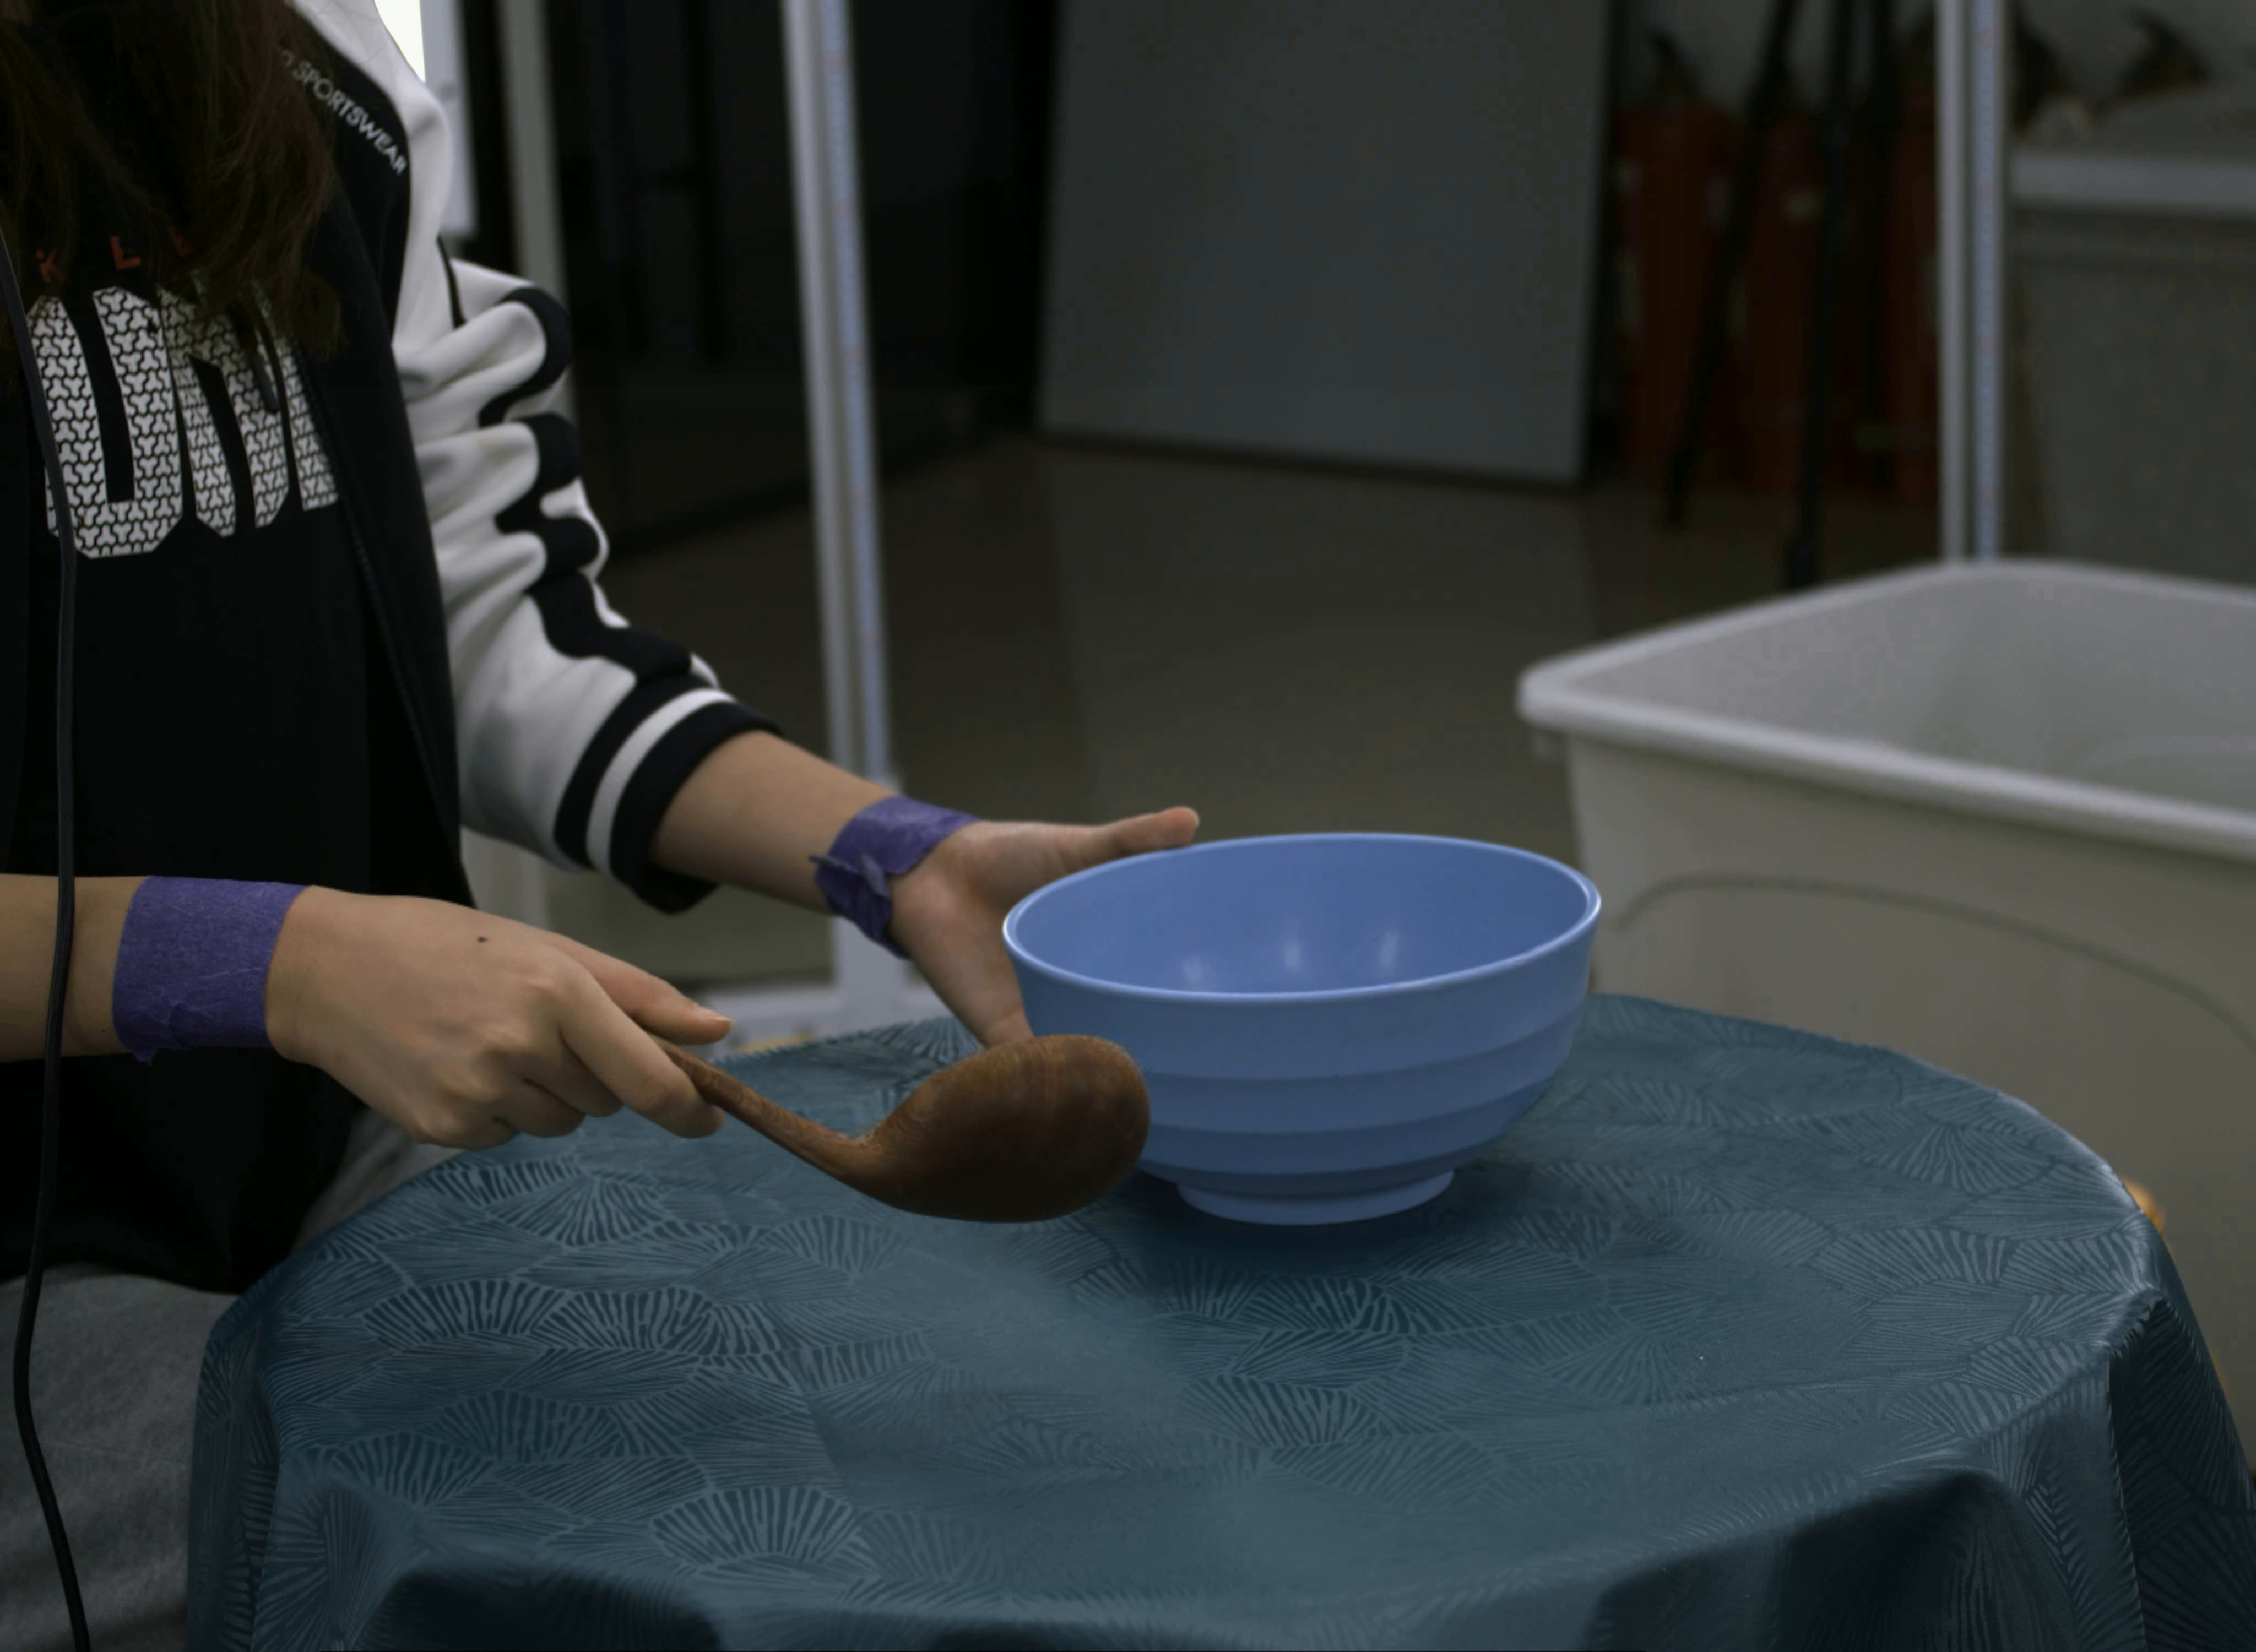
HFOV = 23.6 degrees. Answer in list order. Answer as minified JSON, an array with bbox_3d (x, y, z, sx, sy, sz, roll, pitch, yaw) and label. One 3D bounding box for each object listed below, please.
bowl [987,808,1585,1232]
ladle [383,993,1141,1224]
[{"bbox_3d":[0.054,0.070,1.762,0.194,0.096,0.197,-4,20,1],"label":"bowl"},{"bbox_3d":[-0.111,0.068,1.608,0.262,0.076,0.065,14,64,34],"label":"ladle"}]
